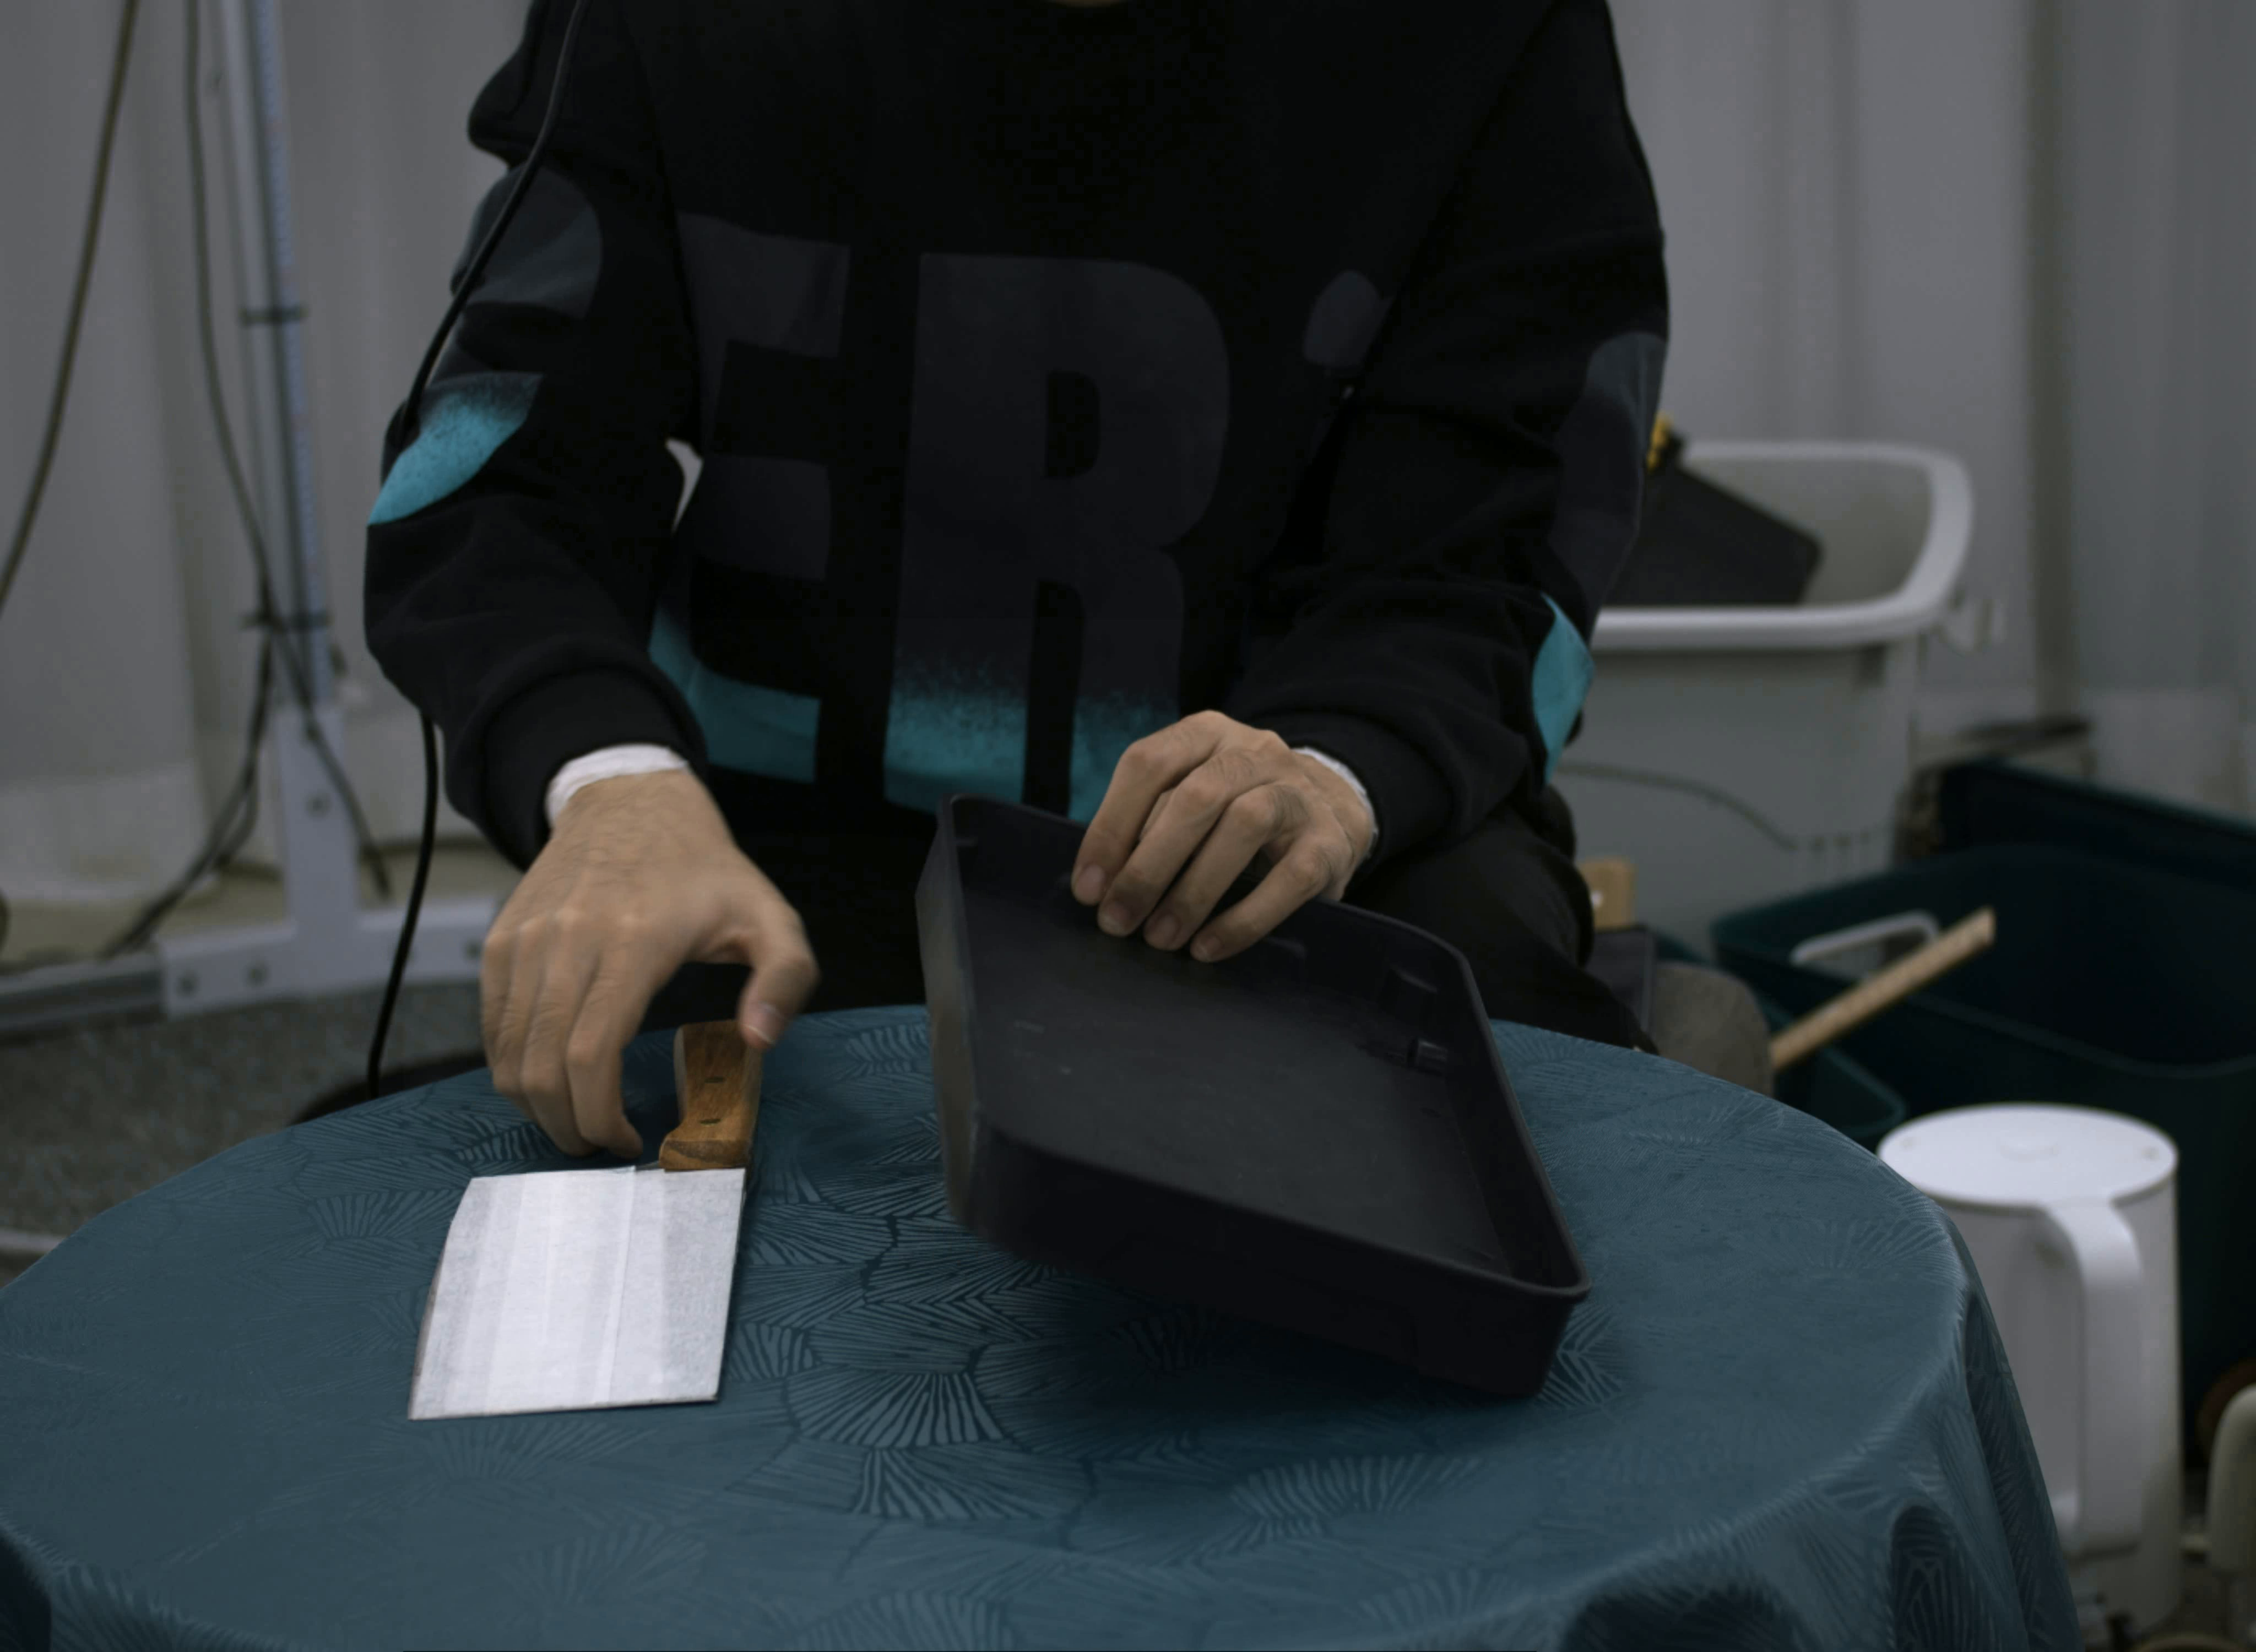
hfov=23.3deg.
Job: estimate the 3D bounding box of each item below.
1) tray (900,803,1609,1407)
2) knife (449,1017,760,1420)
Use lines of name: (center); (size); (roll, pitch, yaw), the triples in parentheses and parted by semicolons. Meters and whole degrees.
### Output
tray: (0.029, 0.077, 1.642); (0.183, 0.037, 0.321); (15, 16, -10)
knife: (-0.162, 0.120, 1.698); (0.092, 0.021, 0.308); (-5, 17, 0)
